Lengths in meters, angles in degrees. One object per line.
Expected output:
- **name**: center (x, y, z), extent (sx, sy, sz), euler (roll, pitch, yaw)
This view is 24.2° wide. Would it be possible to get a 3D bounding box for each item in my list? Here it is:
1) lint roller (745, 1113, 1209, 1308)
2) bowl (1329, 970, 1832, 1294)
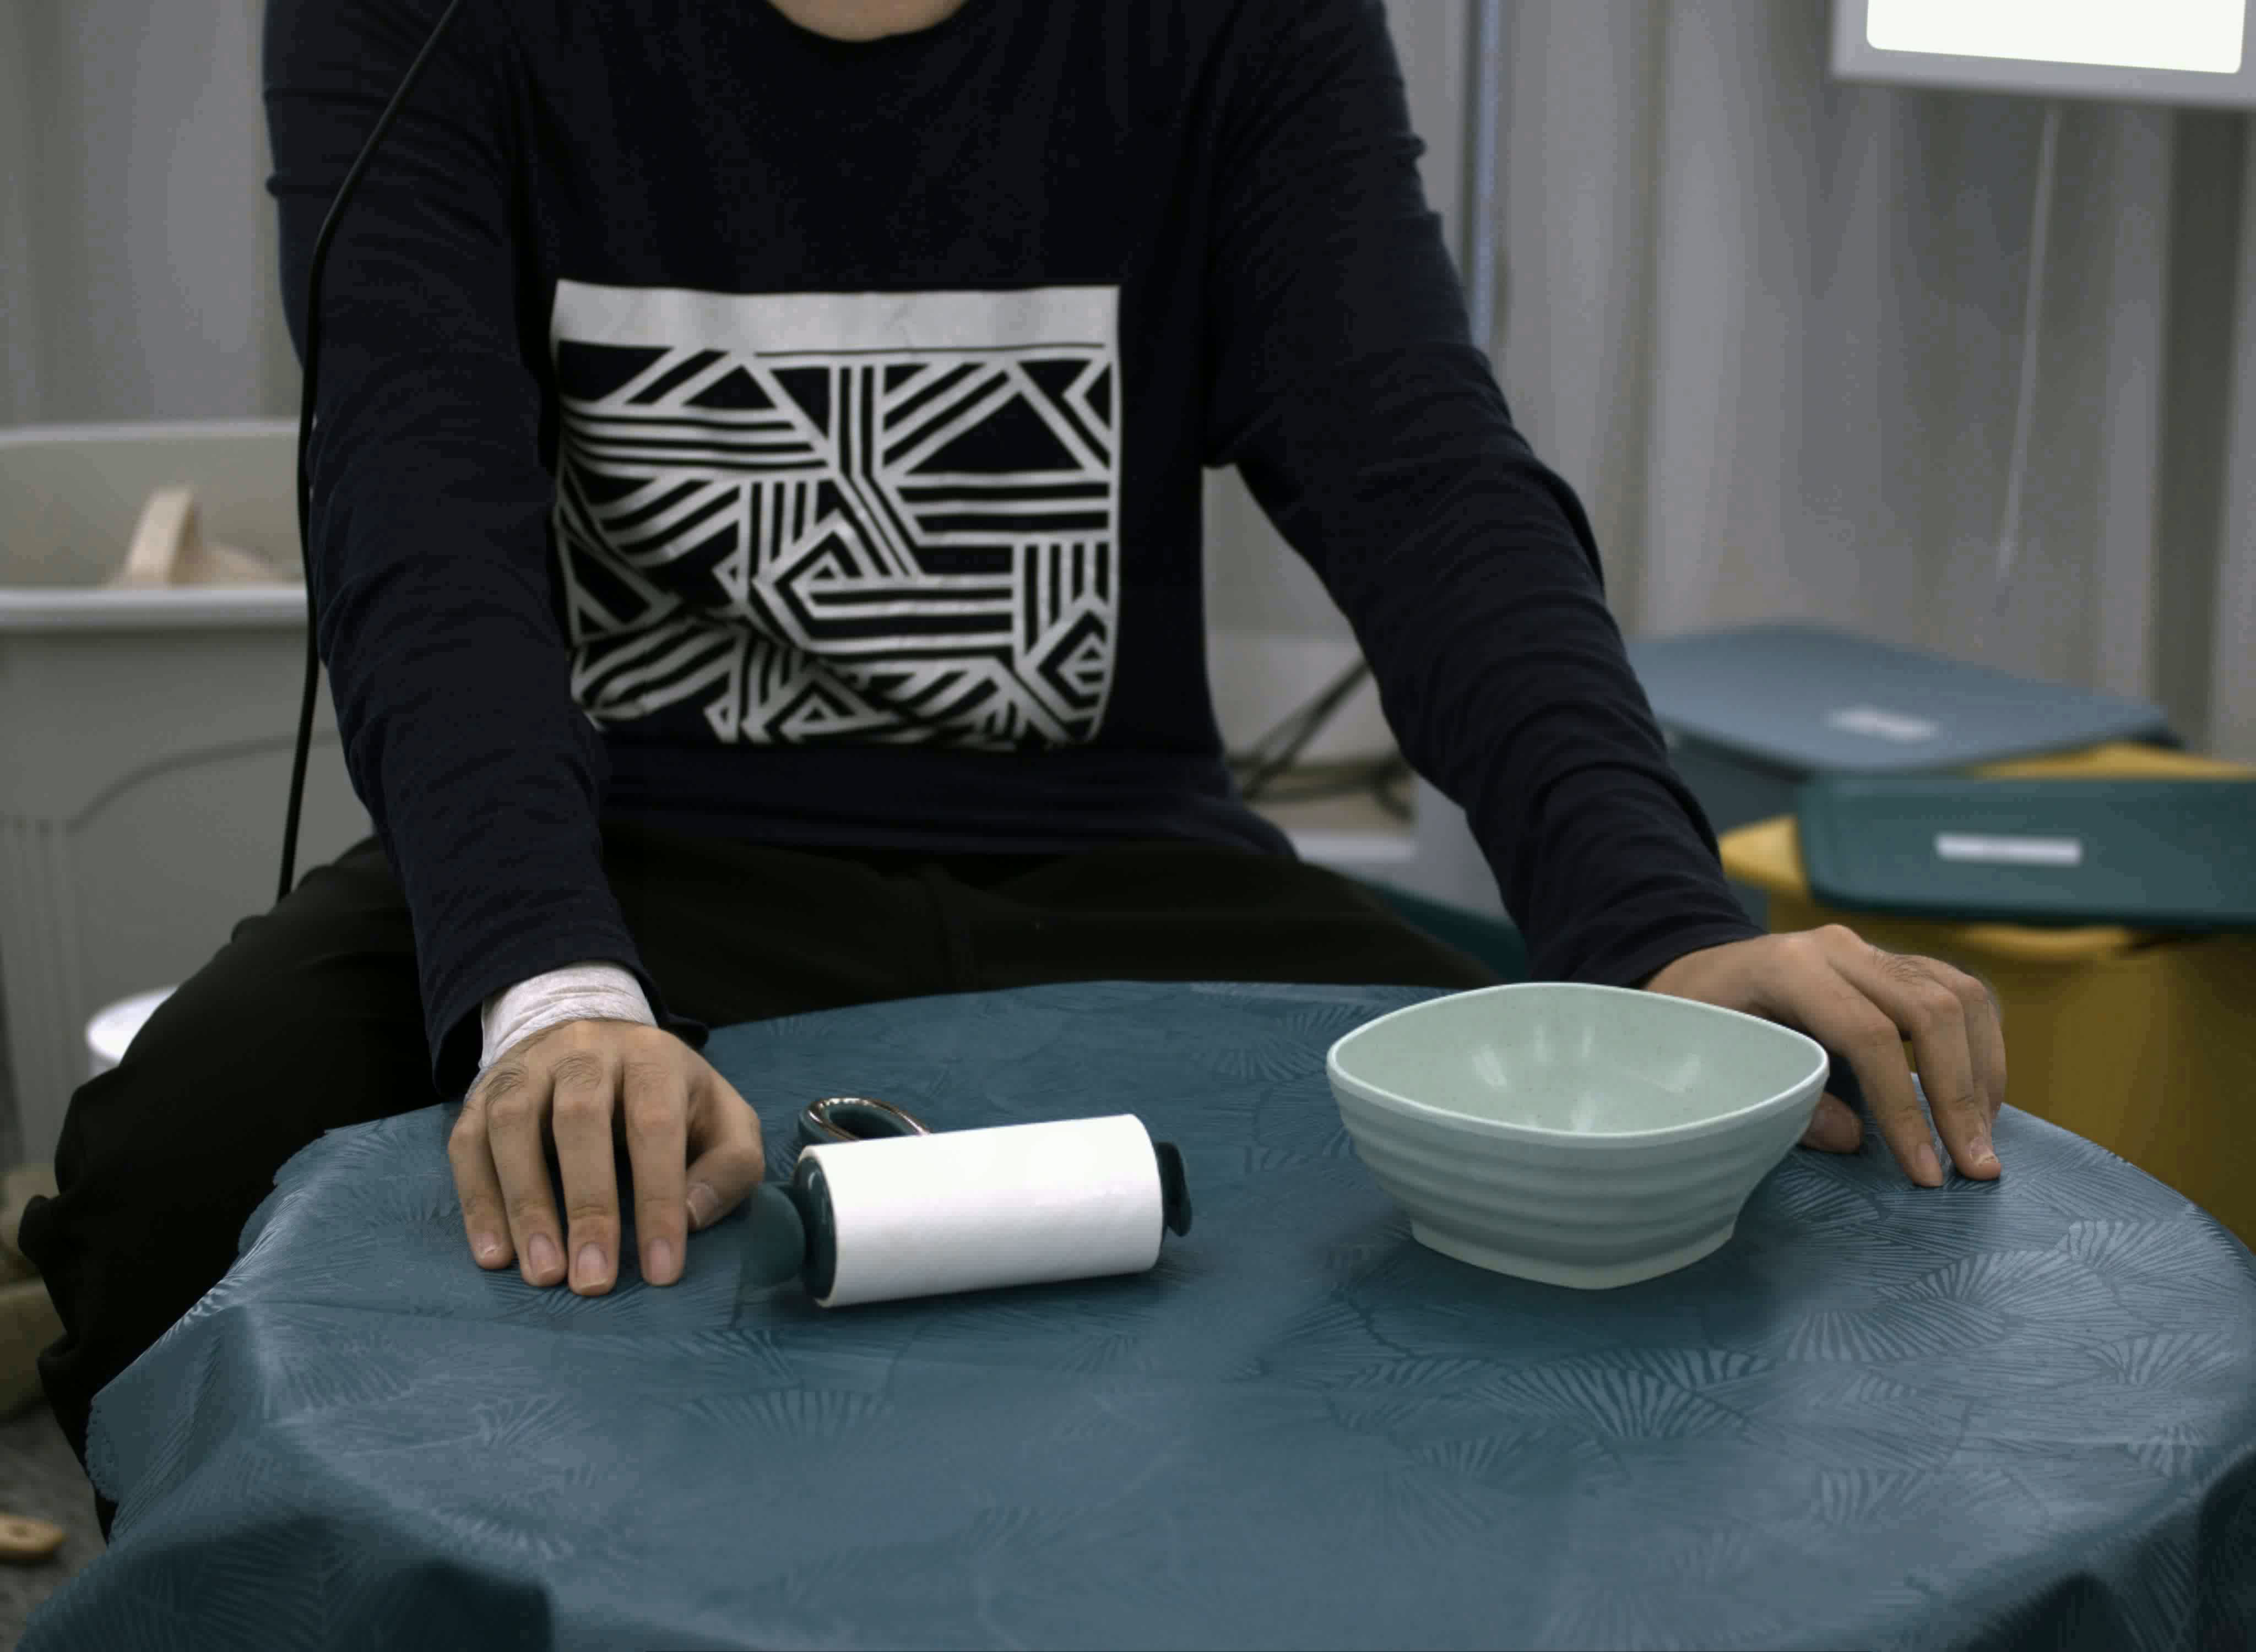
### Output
- **lint roller**: center (-0.067, 0.099, 1.597), extent (0.134, 0.048, 0.178), euler (-5, 13, -19)
- **bowl**: center (0.135, 0.095, 1.584), extent (0.151, 0.059, 0.150), euler (2, 18, 0)
